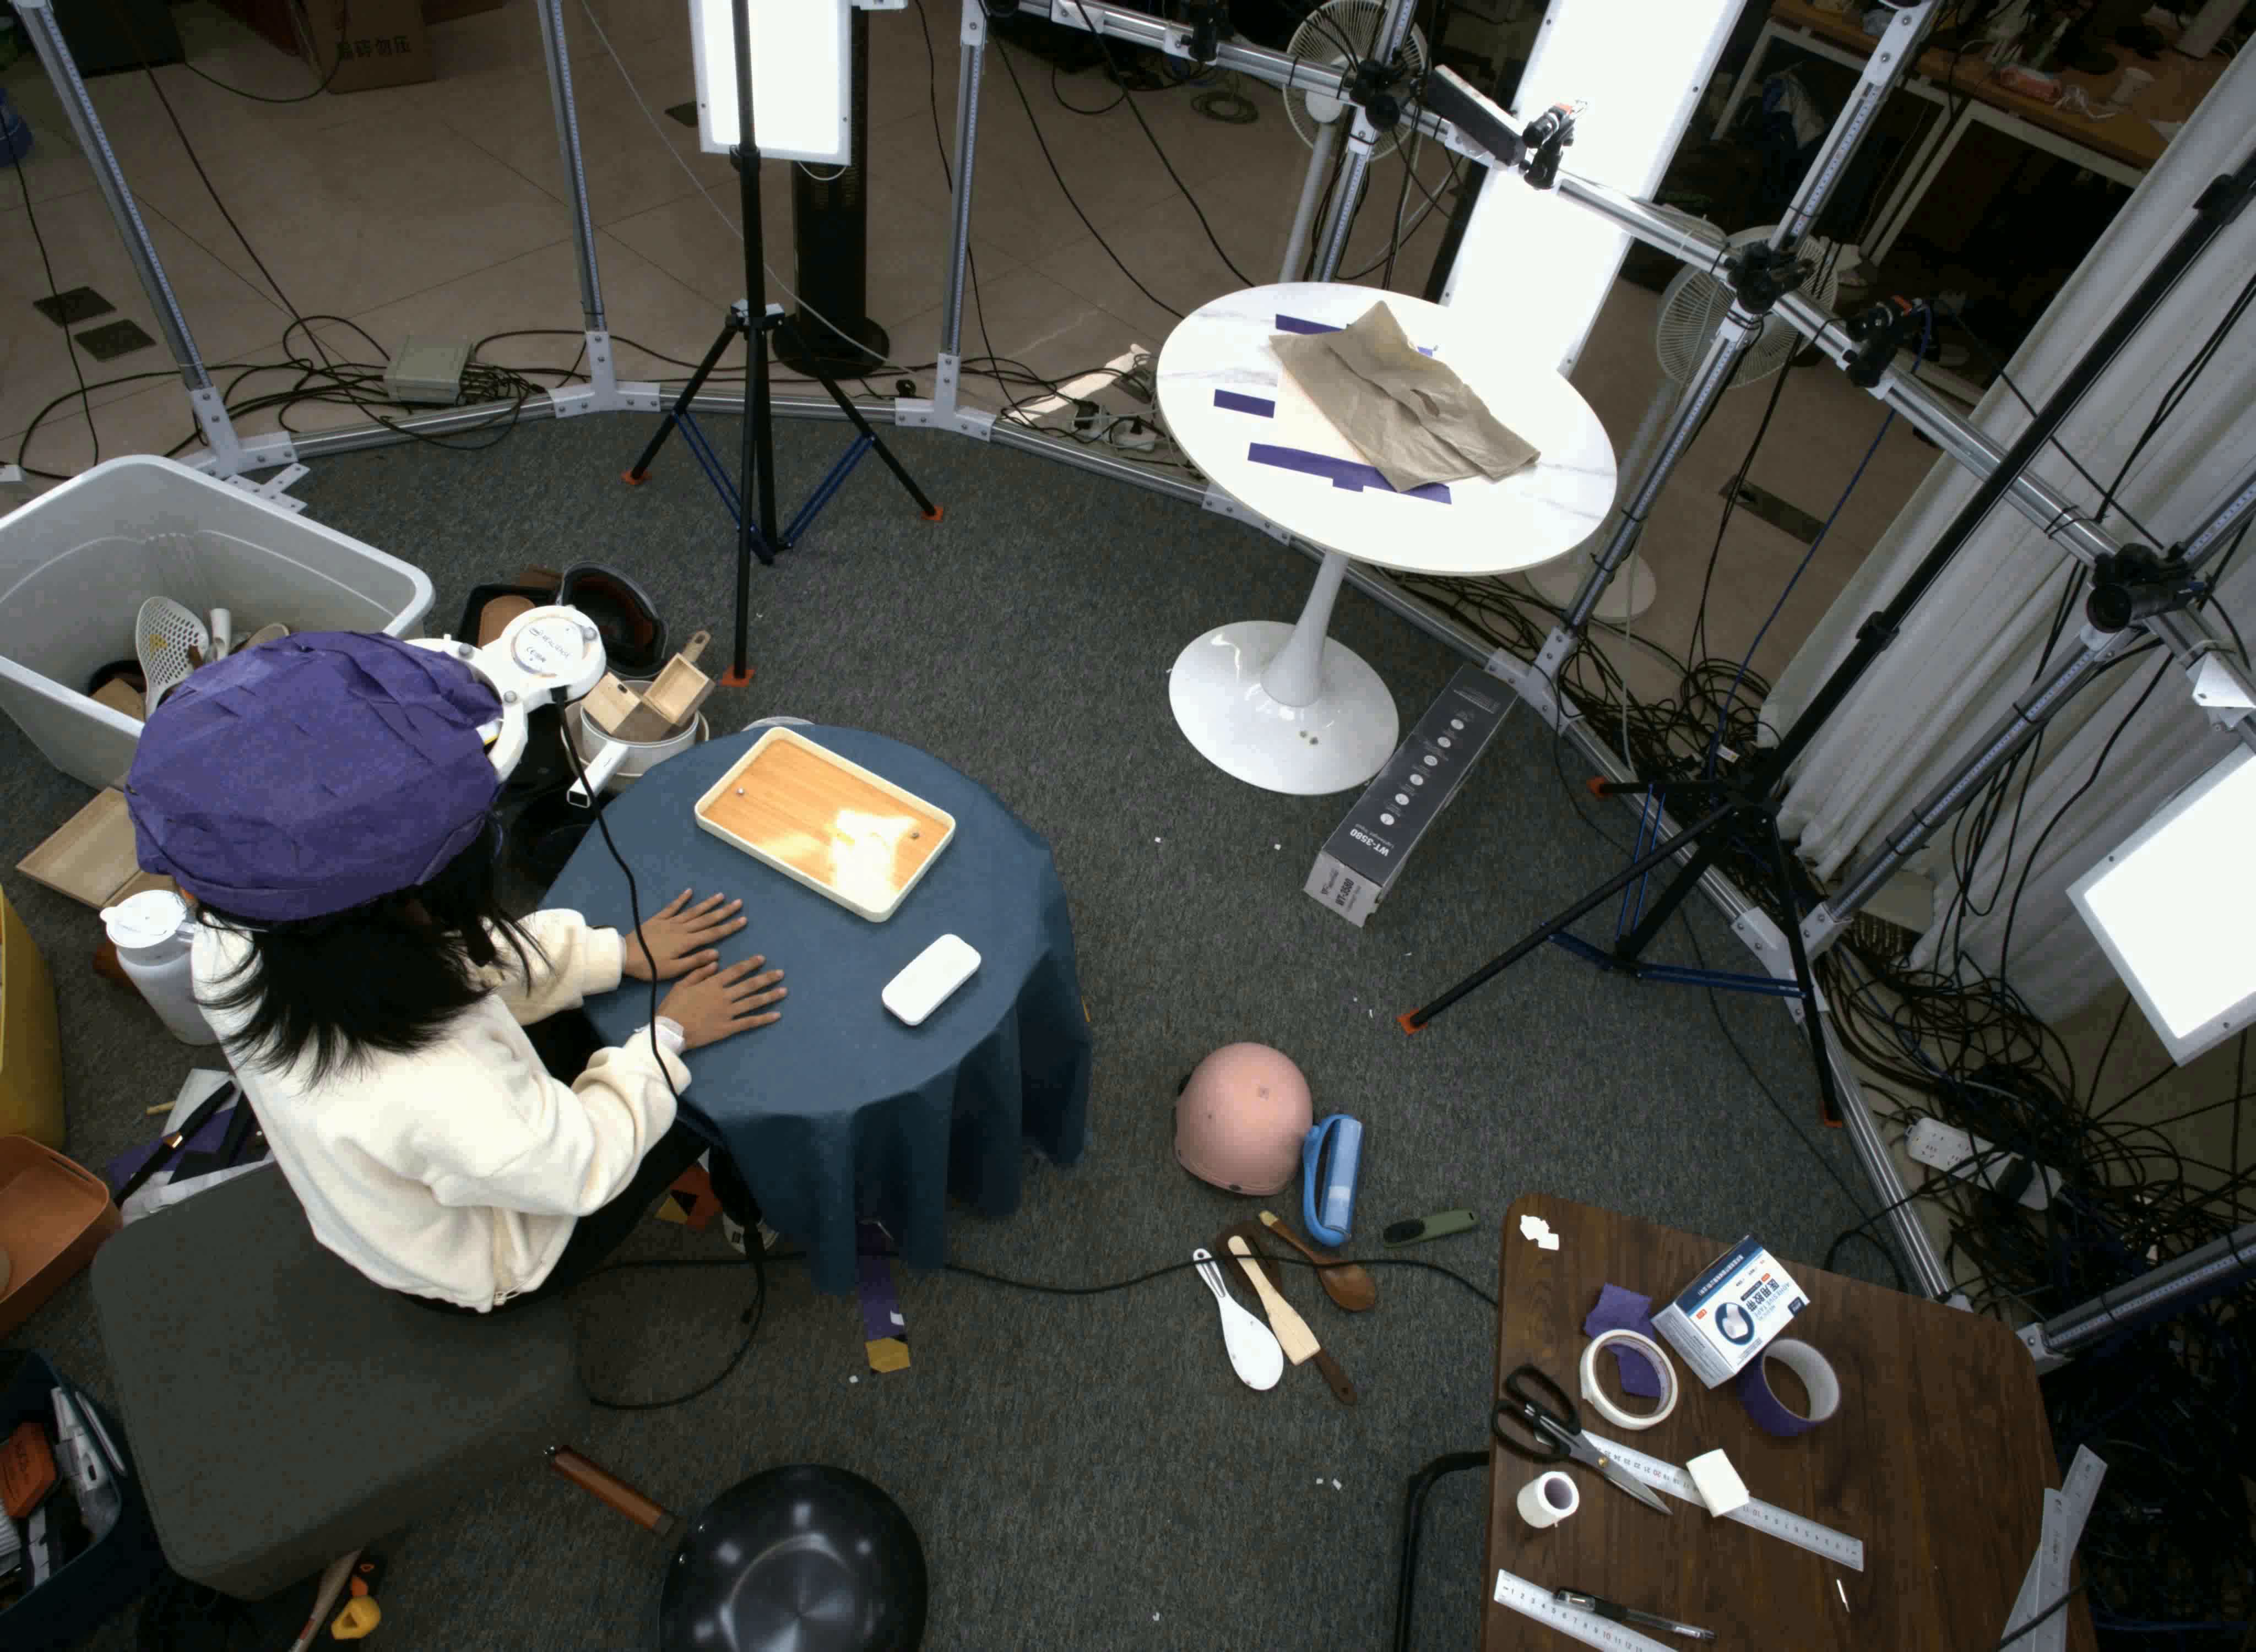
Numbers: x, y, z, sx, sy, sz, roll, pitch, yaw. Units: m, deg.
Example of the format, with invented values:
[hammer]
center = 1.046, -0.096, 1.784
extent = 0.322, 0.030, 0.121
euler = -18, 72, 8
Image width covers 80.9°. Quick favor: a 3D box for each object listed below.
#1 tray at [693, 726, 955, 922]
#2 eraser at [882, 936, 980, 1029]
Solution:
[tray]
center = -0.399, -0.008, 1.714
extent = 0.296, 0.028, 0.190
euler = 28, 52, 6
[eraser]
center = -0.243, 0.188, 1.606
extent = 0.062, 0.035, 0.131
euler = 36, 52, 15
